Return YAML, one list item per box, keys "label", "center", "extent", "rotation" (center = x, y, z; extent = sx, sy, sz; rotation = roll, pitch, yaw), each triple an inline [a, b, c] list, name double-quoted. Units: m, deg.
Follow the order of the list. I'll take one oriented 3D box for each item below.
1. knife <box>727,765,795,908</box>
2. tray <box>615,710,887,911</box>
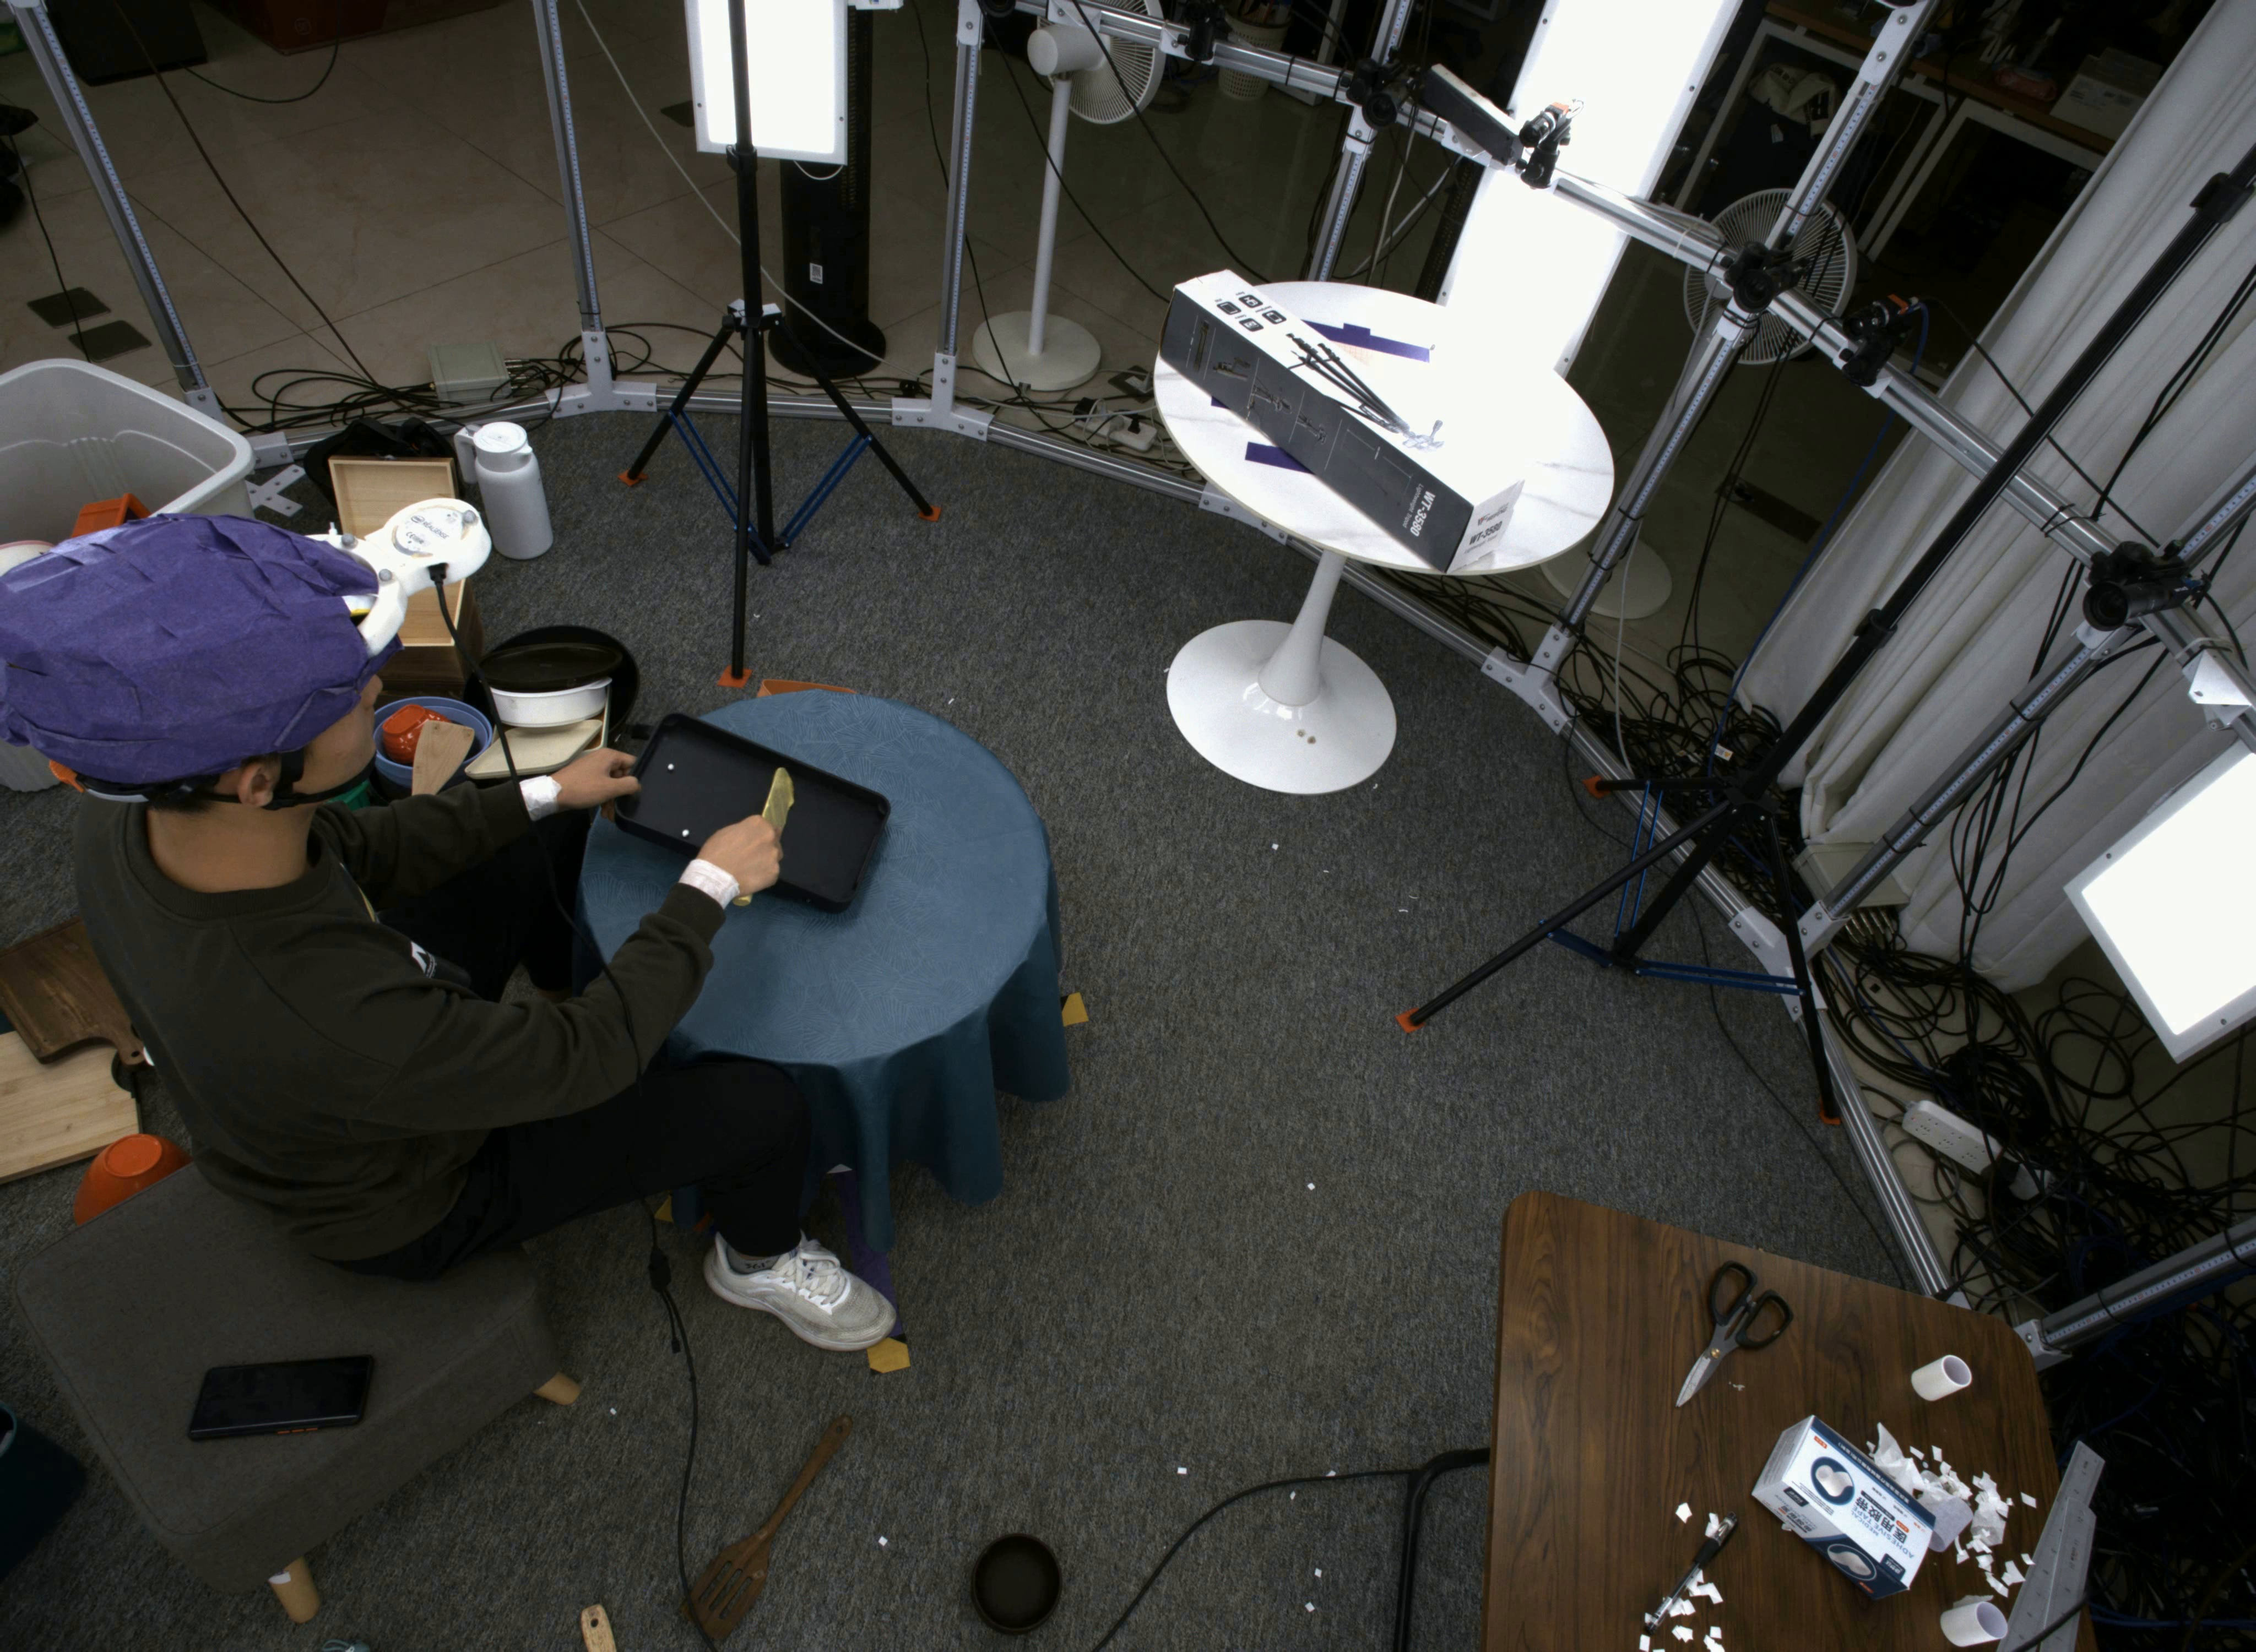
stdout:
- label: "knife"
  center: [-0.444, 0.014, 1.595]
  extent: [0.027, 0.084, 0.283]
  rotation: [-2, 34, 3]
- label: "tray"
  center: [-0.484, -0.021, 1.667]
  extent: [0.321, 0.037, 0.182]
  rotation: [22, 53, -15]
